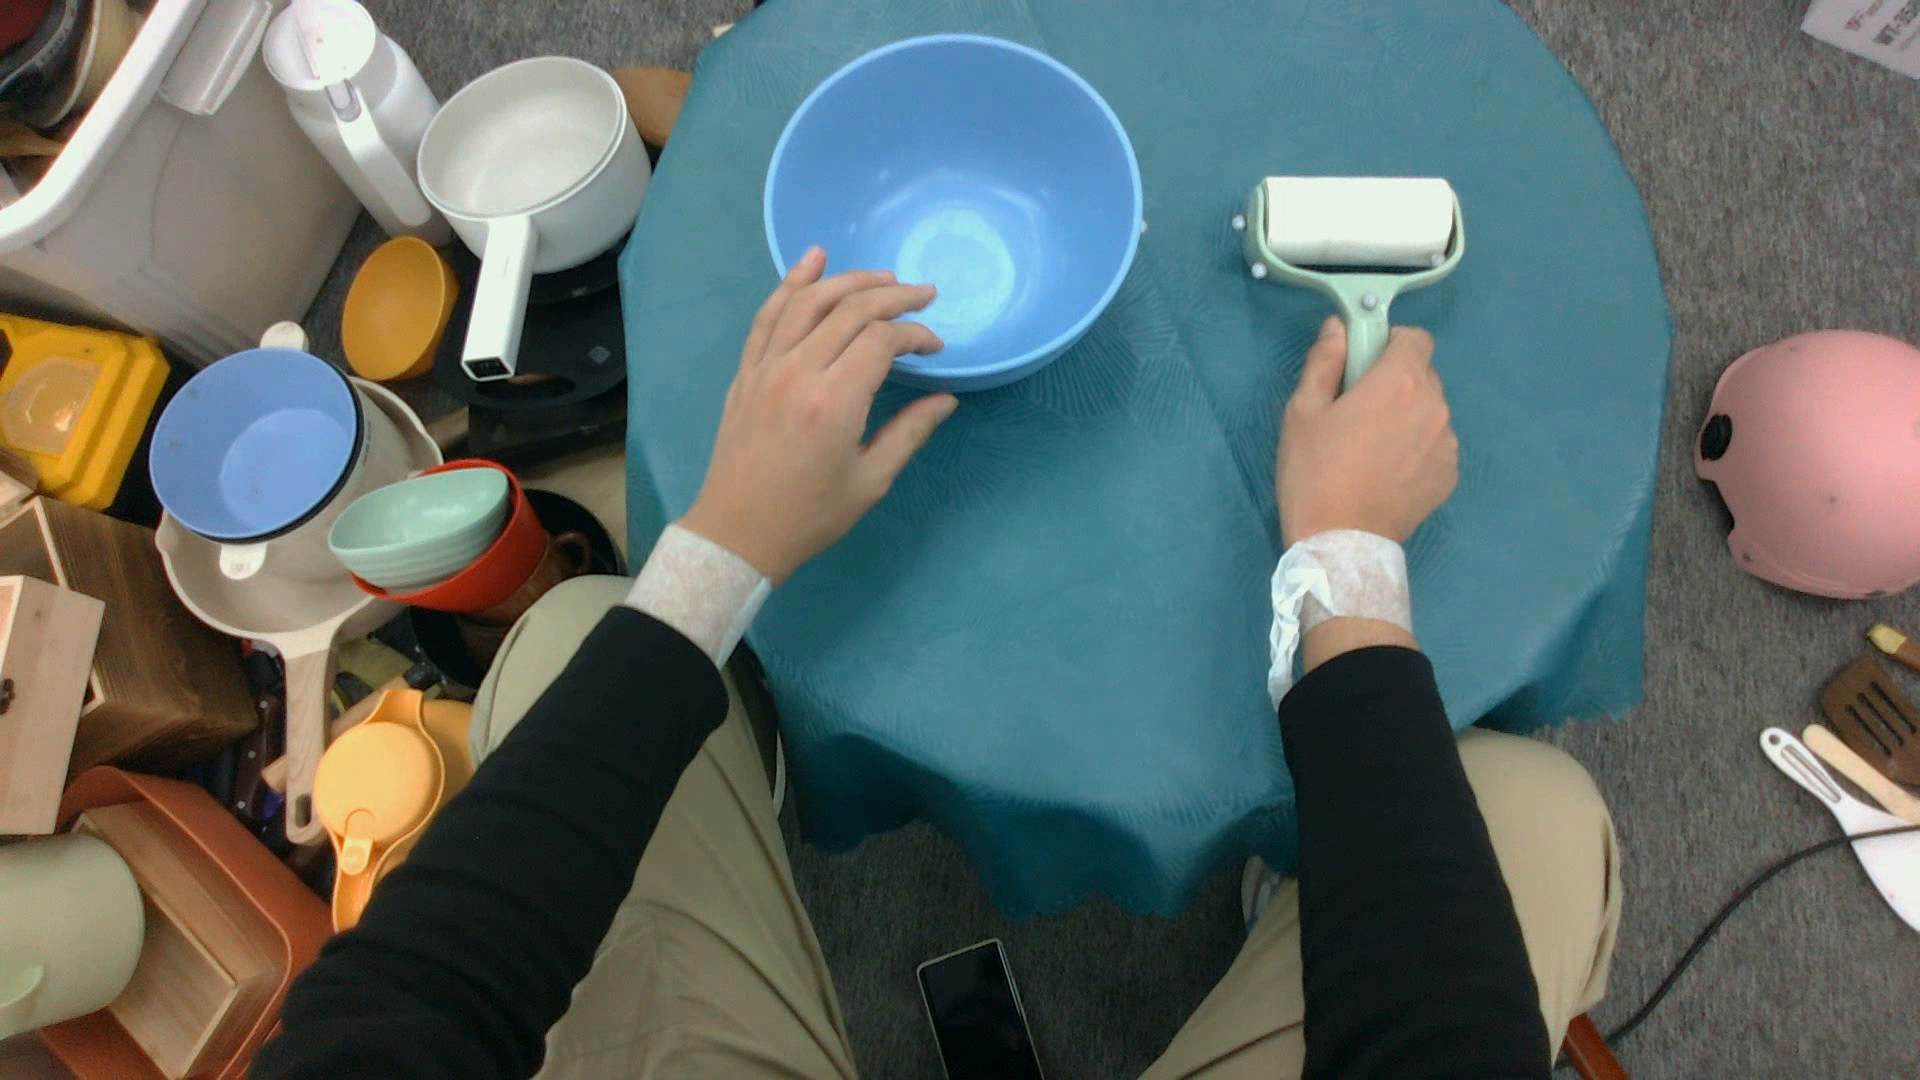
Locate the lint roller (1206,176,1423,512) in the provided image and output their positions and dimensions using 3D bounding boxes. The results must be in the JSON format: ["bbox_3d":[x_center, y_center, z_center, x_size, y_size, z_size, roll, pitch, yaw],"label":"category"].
[{"bbox_3d":[0.200,-0.114,0.762,0.116,0.048,0.198,1,70,-1],"label":"lint roller"}]

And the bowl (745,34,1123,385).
[{"bbox_3d":[-0.014,-0.166,0.757,0.196,0.095,0.197,0,73,-1],"label":"bowl"}]
